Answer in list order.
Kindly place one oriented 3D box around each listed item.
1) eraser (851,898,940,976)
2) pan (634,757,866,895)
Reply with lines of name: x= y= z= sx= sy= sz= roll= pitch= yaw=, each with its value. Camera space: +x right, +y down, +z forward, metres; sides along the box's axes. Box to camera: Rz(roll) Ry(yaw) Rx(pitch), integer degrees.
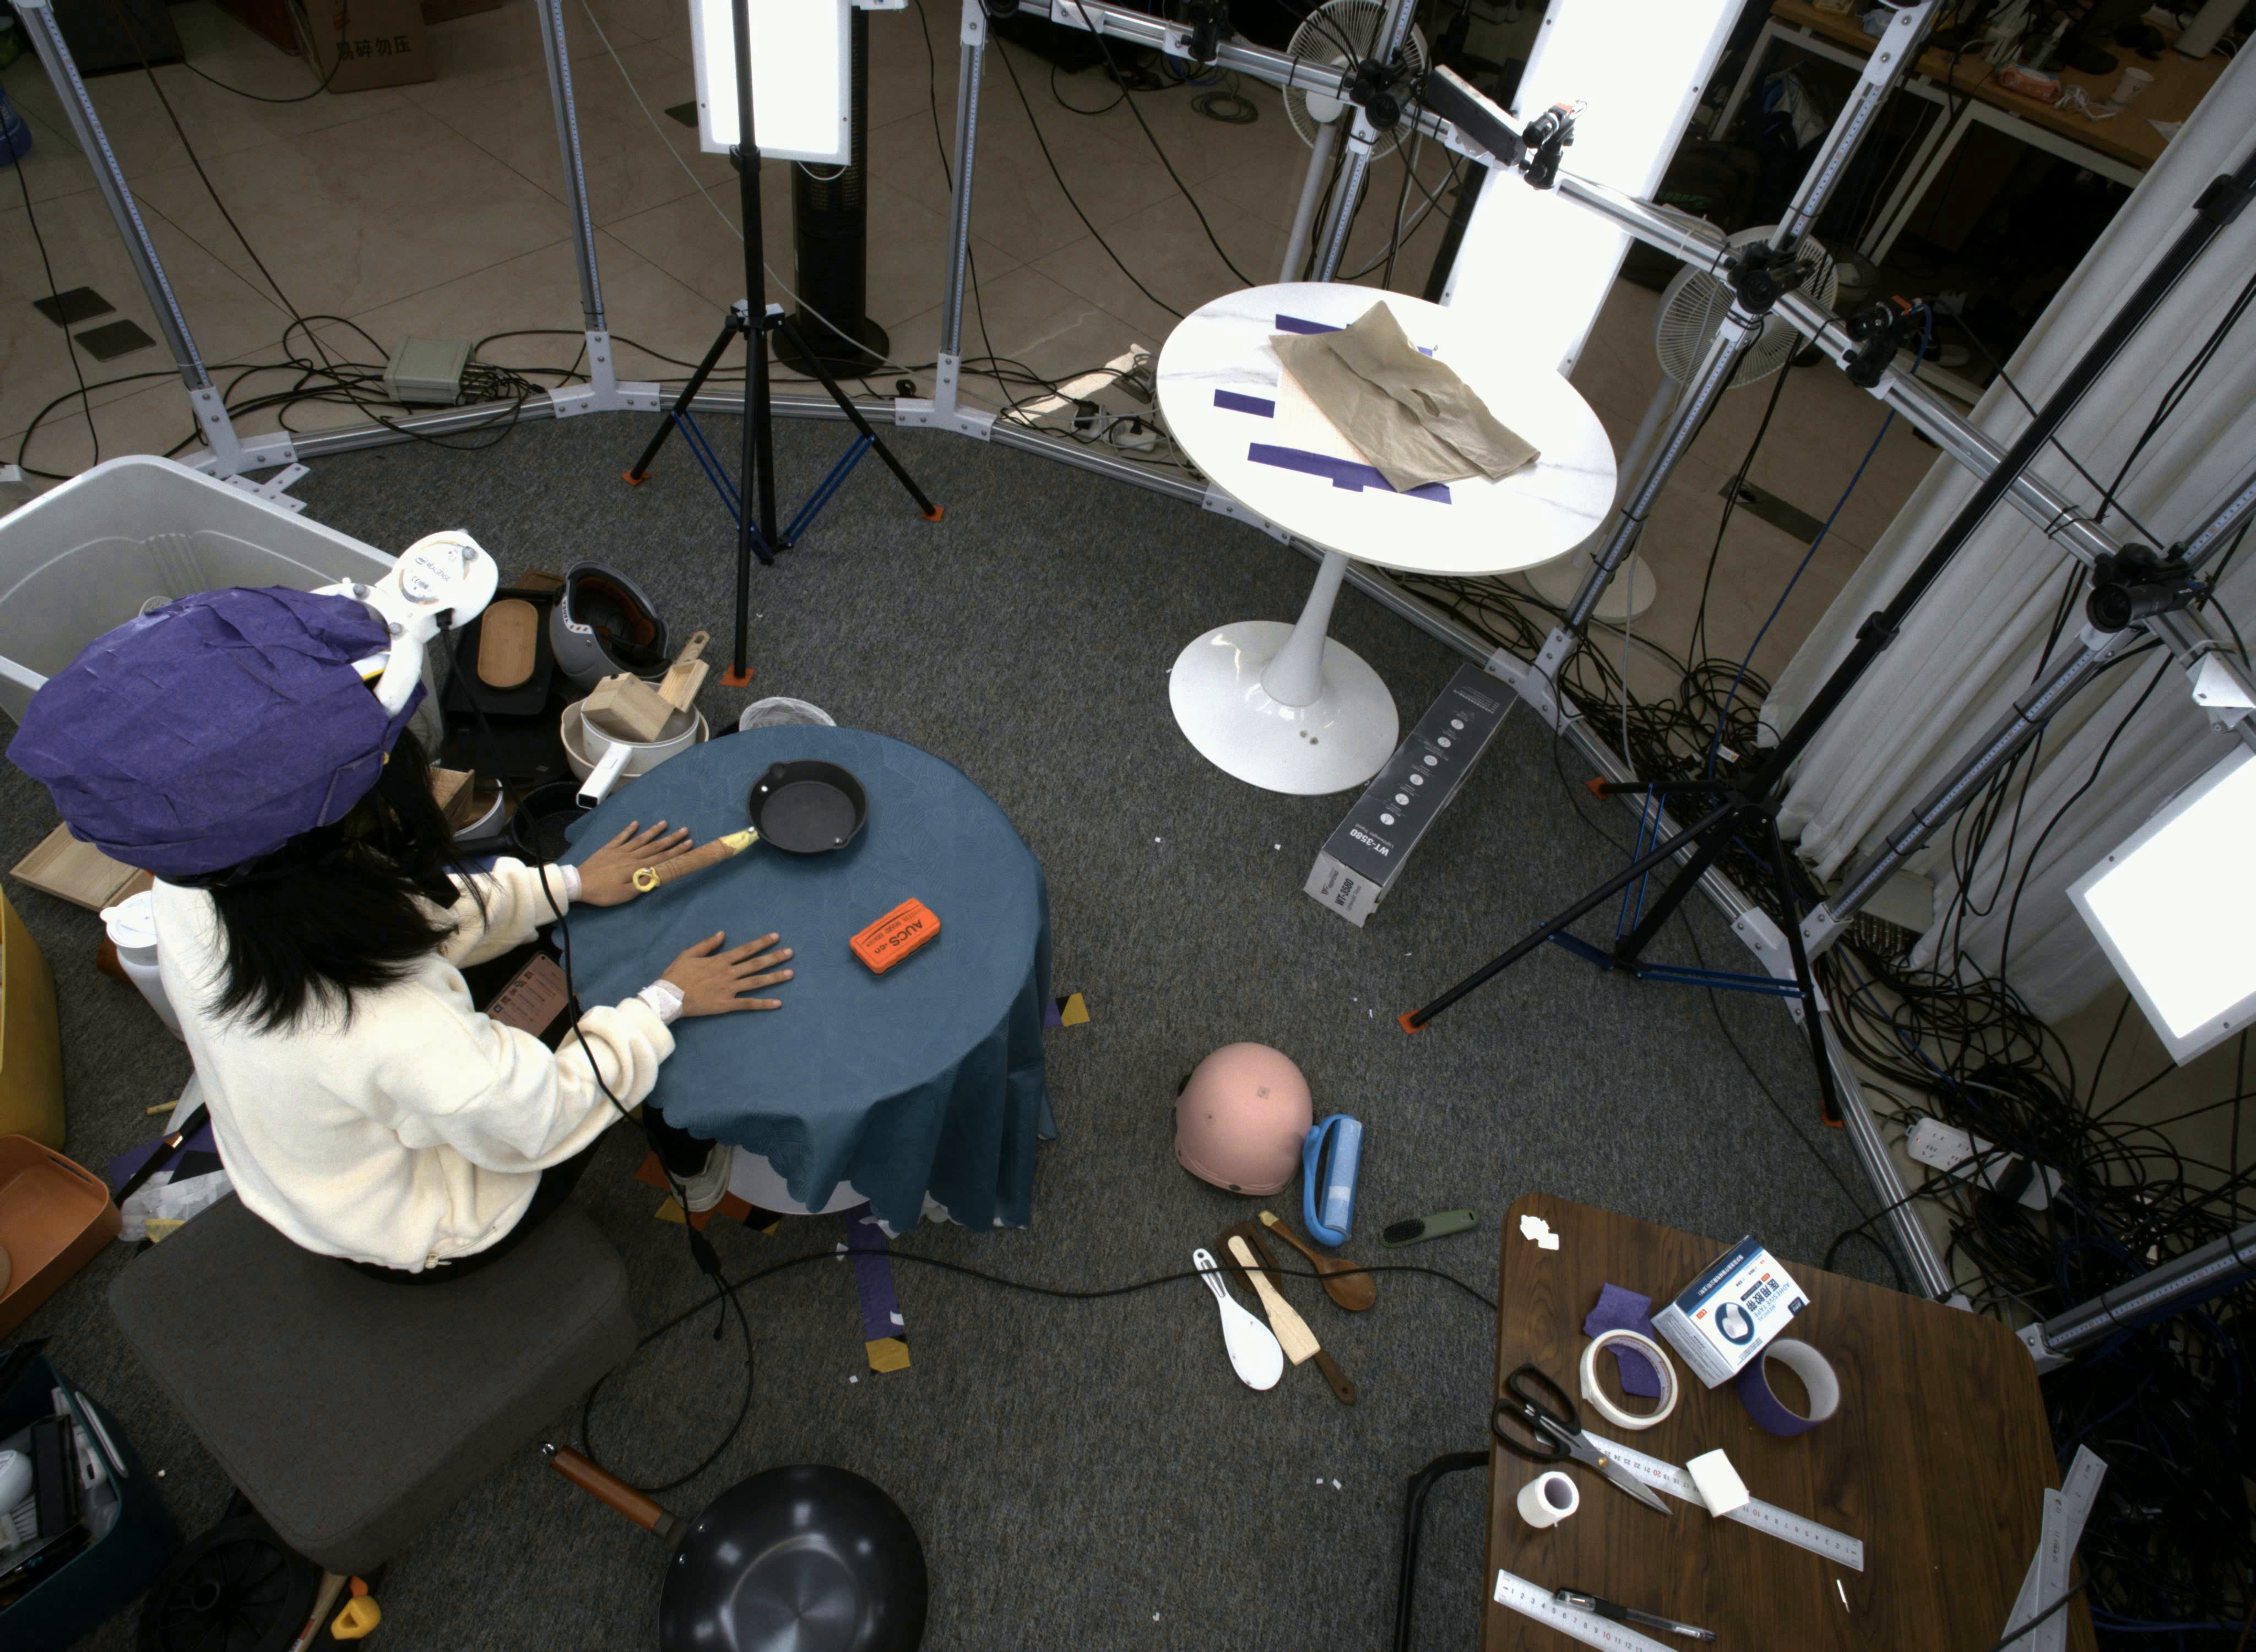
eraser: x=-0.293 y=0.137 z=1.636 sx=0.058 sy=0.023 sz=0.108 roll=43 pitch=55 yaw=17
pan: x=-0.487 y=0.010 z=1.662 sx=0.325 sy=0.050 sz=0.165 roll=-30 pitch=66 yaw=-32
